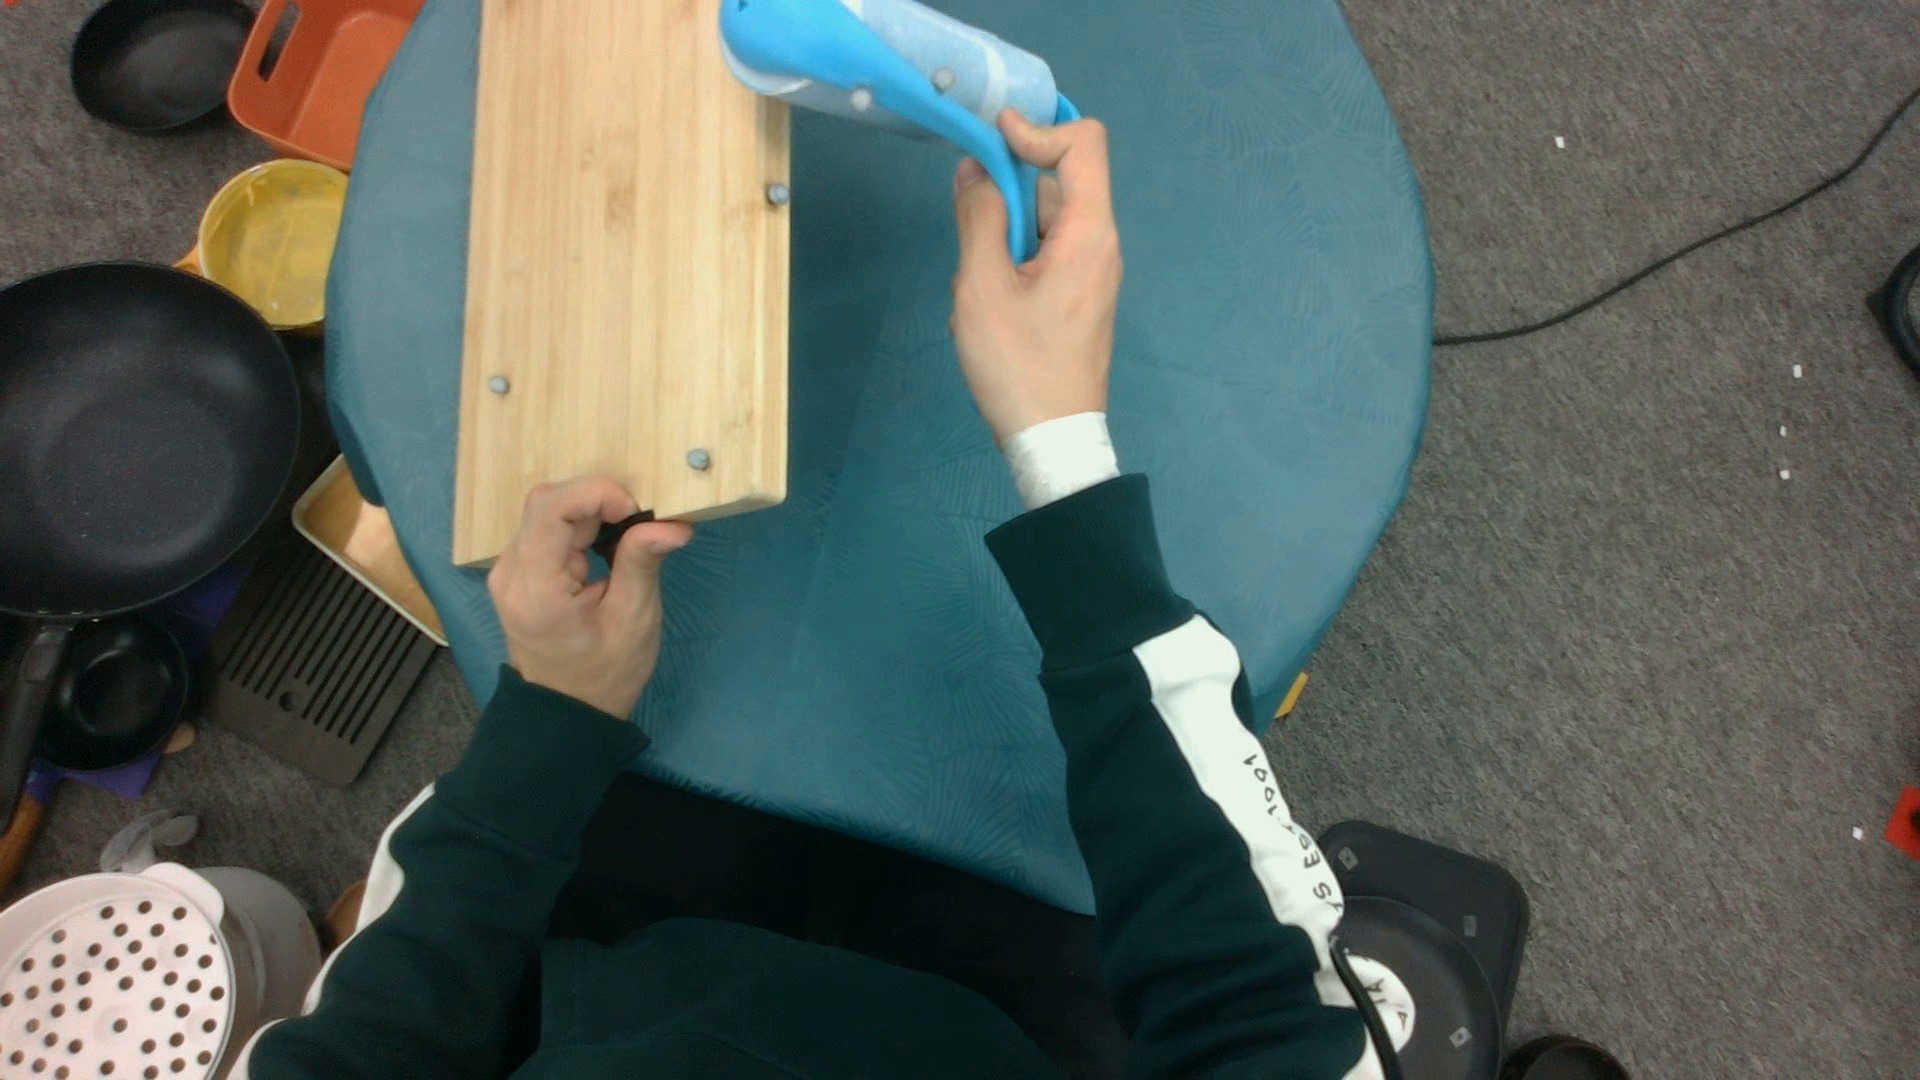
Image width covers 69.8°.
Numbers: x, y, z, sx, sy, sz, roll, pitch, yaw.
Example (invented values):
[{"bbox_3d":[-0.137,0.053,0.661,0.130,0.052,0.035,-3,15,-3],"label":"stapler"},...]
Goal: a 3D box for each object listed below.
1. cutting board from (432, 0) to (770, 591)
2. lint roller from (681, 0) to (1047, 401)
[{"bbox_3d":[-0.176,-0.162,0.638,0.023,0.250,0.349,8,75,-47],"label":"cutting board"},{"bbox_3d":[-0.013,-0.154,0.594,0.067,0.230,0.180,-26,87,28],"label":"lint roller"}]
